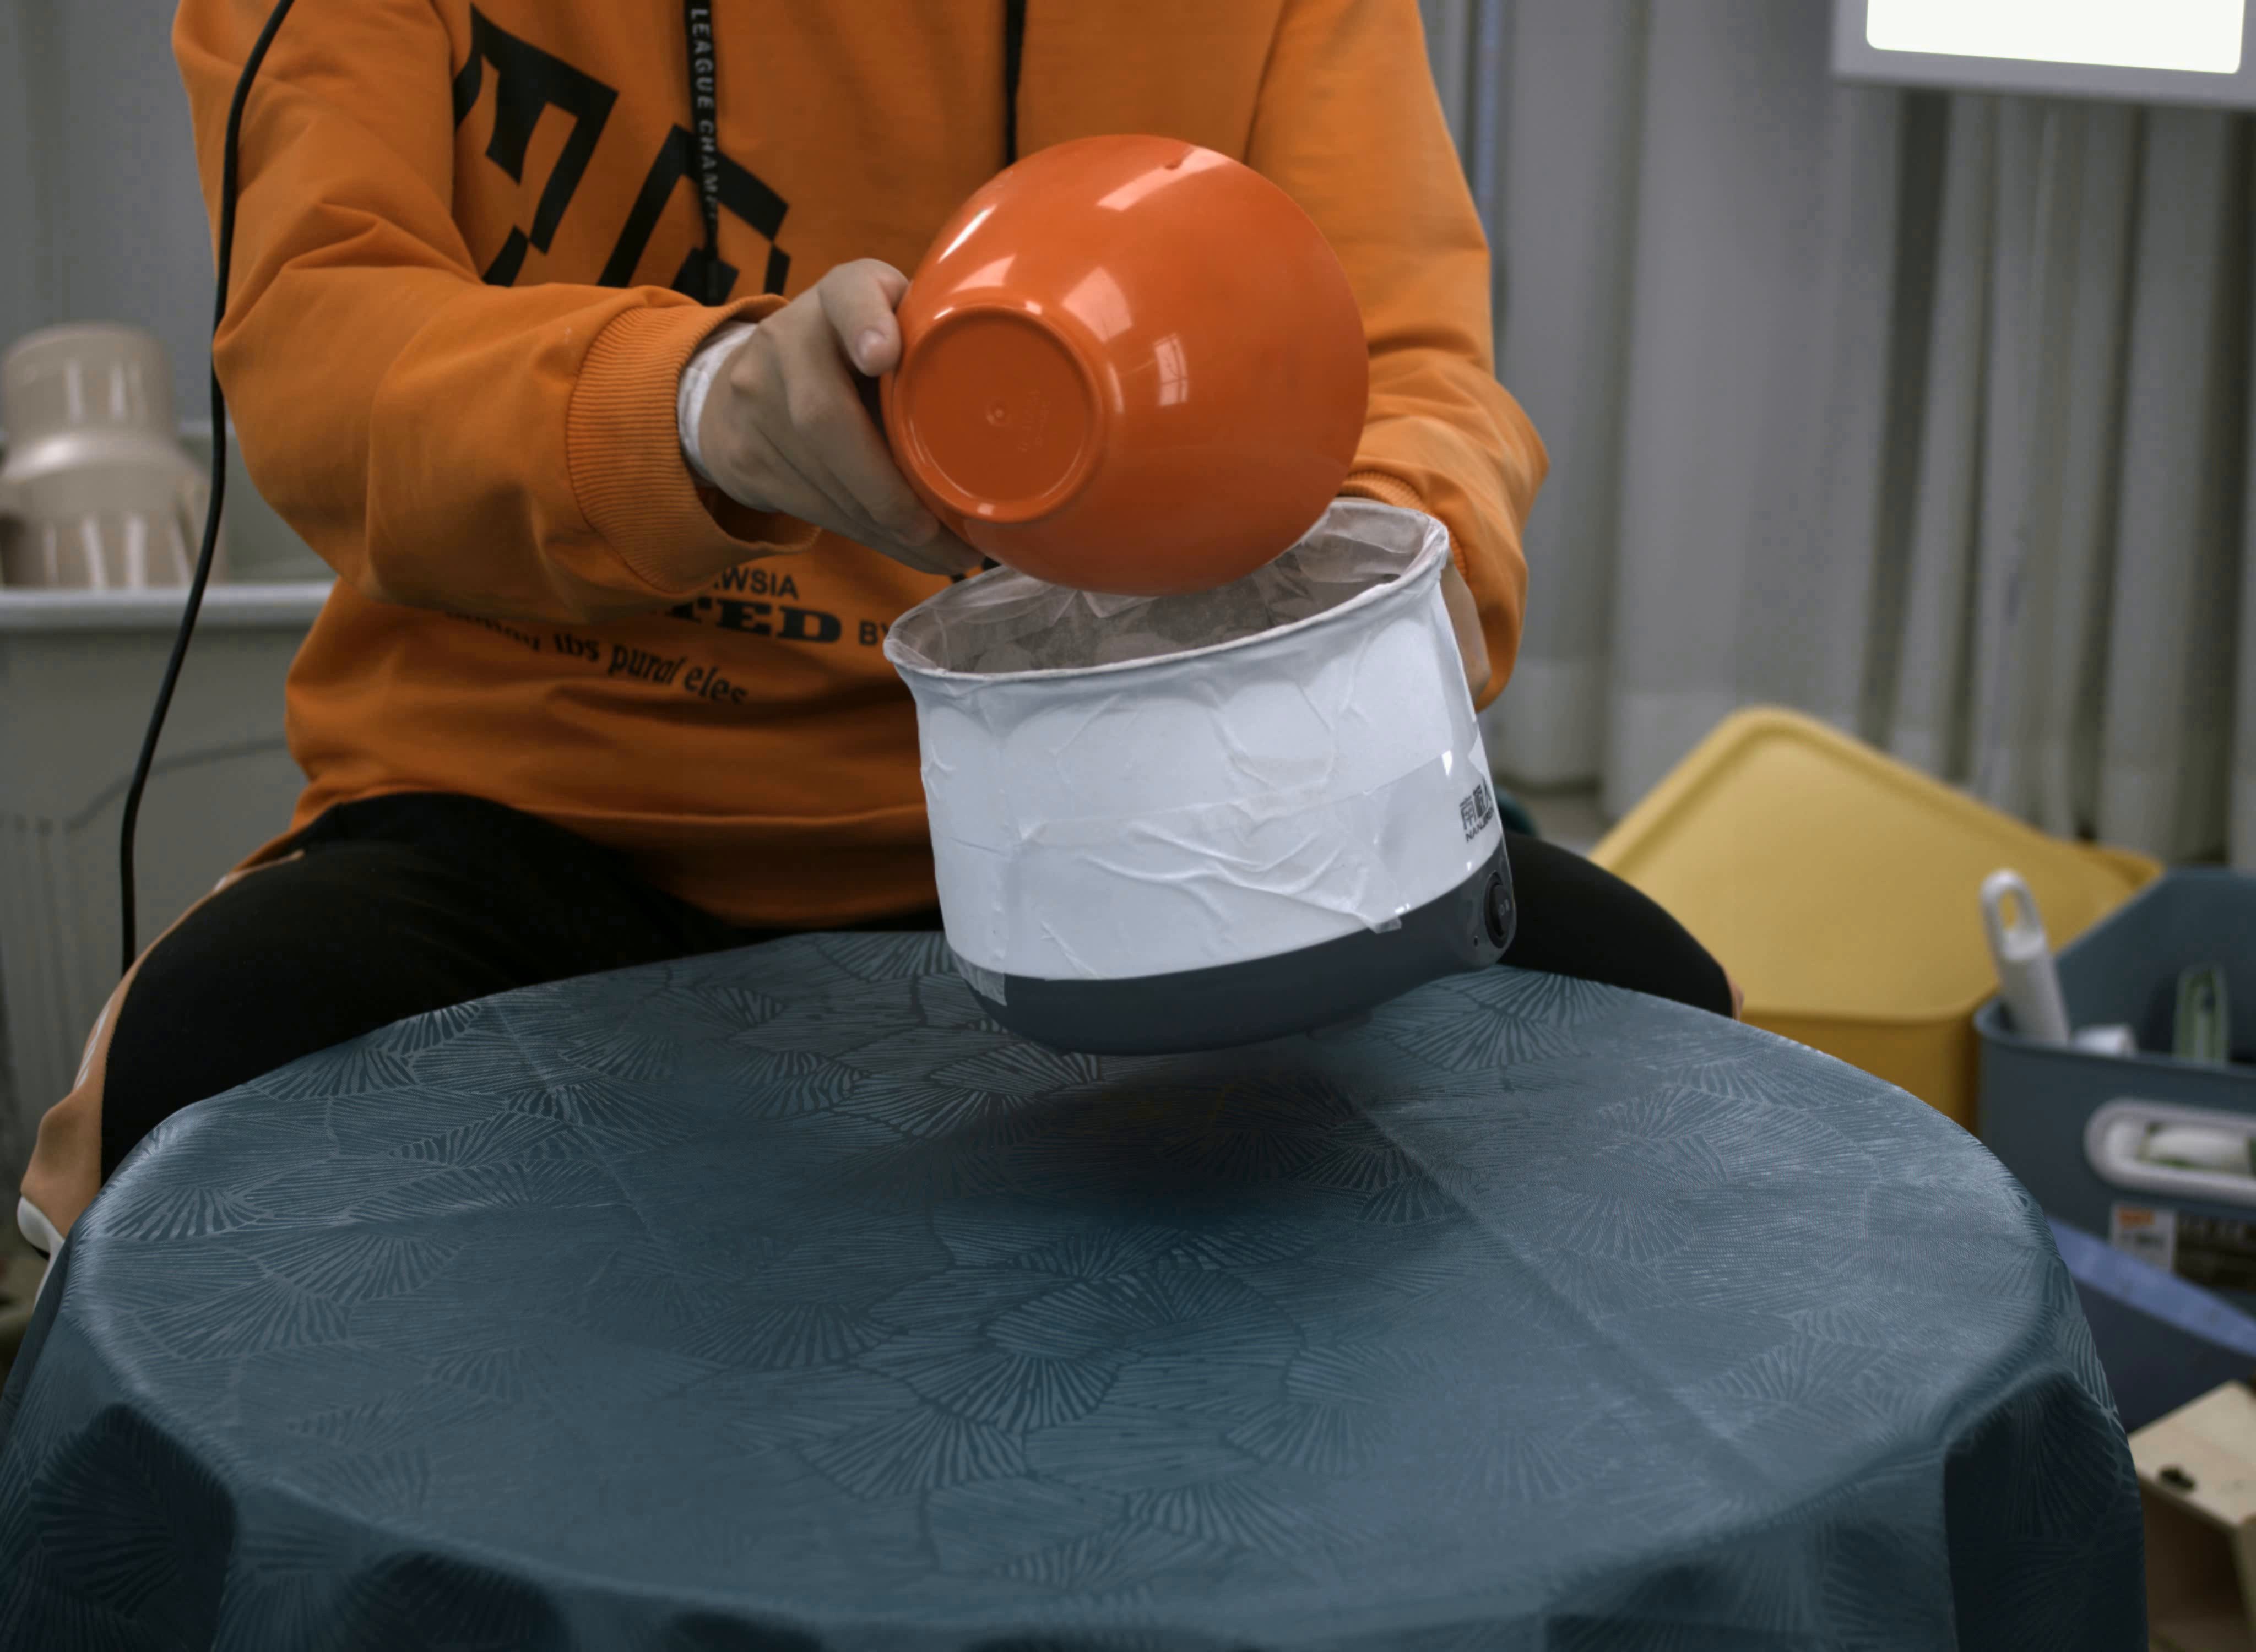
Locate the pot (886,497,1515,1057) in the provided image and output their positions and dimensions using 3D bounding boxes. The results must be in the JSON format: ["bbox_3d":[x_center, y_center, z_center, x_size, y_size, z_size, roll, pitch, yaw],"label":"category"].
[{"bbox_3d":[0.033,-0.024,1.655,0.177,0.138,0.233,-5,18,20],"label":"pot"}]

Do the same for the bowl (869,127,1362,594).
[{"bbox_3d":[-0.014,-0.133,1.594,0.147,0.149,0.104,6,18,17],"label":"bowl"}]
